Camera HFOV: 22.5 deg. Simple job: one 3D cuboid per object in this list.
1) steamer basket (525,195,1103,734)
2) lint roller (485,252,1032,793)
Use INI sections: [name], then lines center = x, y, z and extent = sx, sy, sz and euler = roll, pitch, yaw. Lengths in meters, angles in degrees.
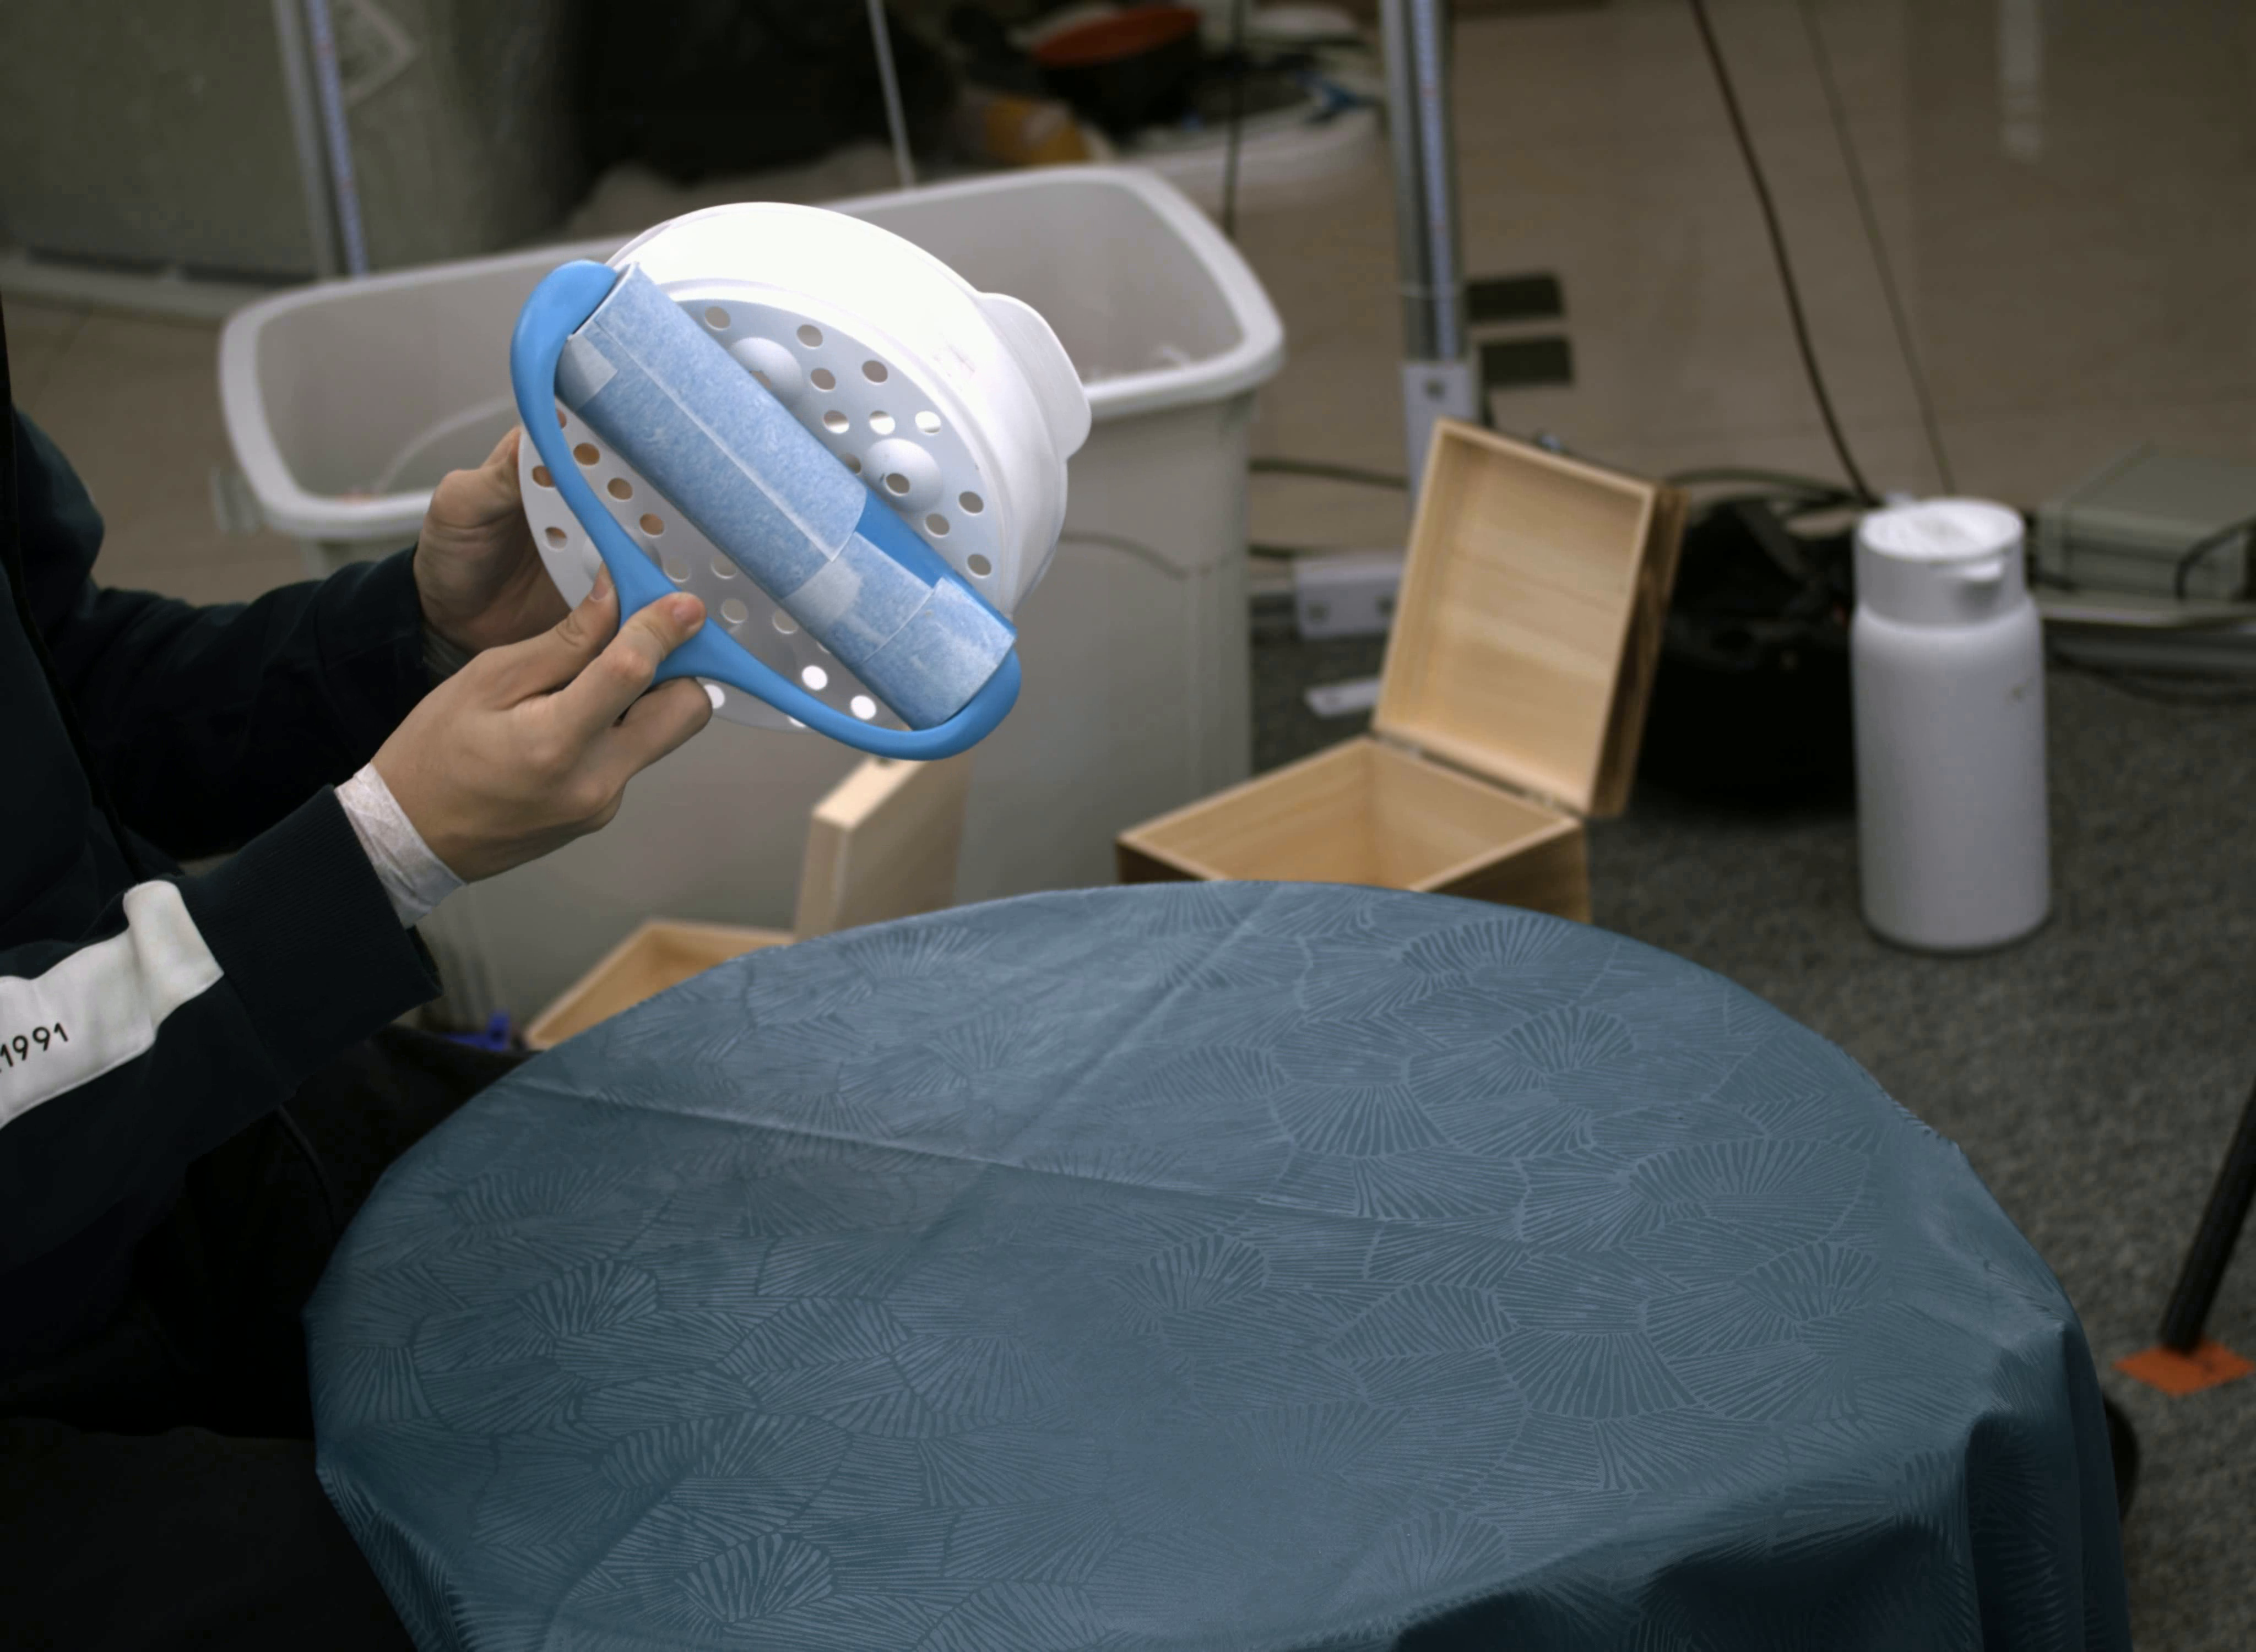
[steamer basket]
center = -0.123, -0.128, 2.073
extent = 0.231, 0.204, 0.068
euler = -15, 27, 27
[lint roller]
center = -0.162, -0.076, 2.016
extent = 0.181, 0.230, 0.067
euler = -49, 17, 6
